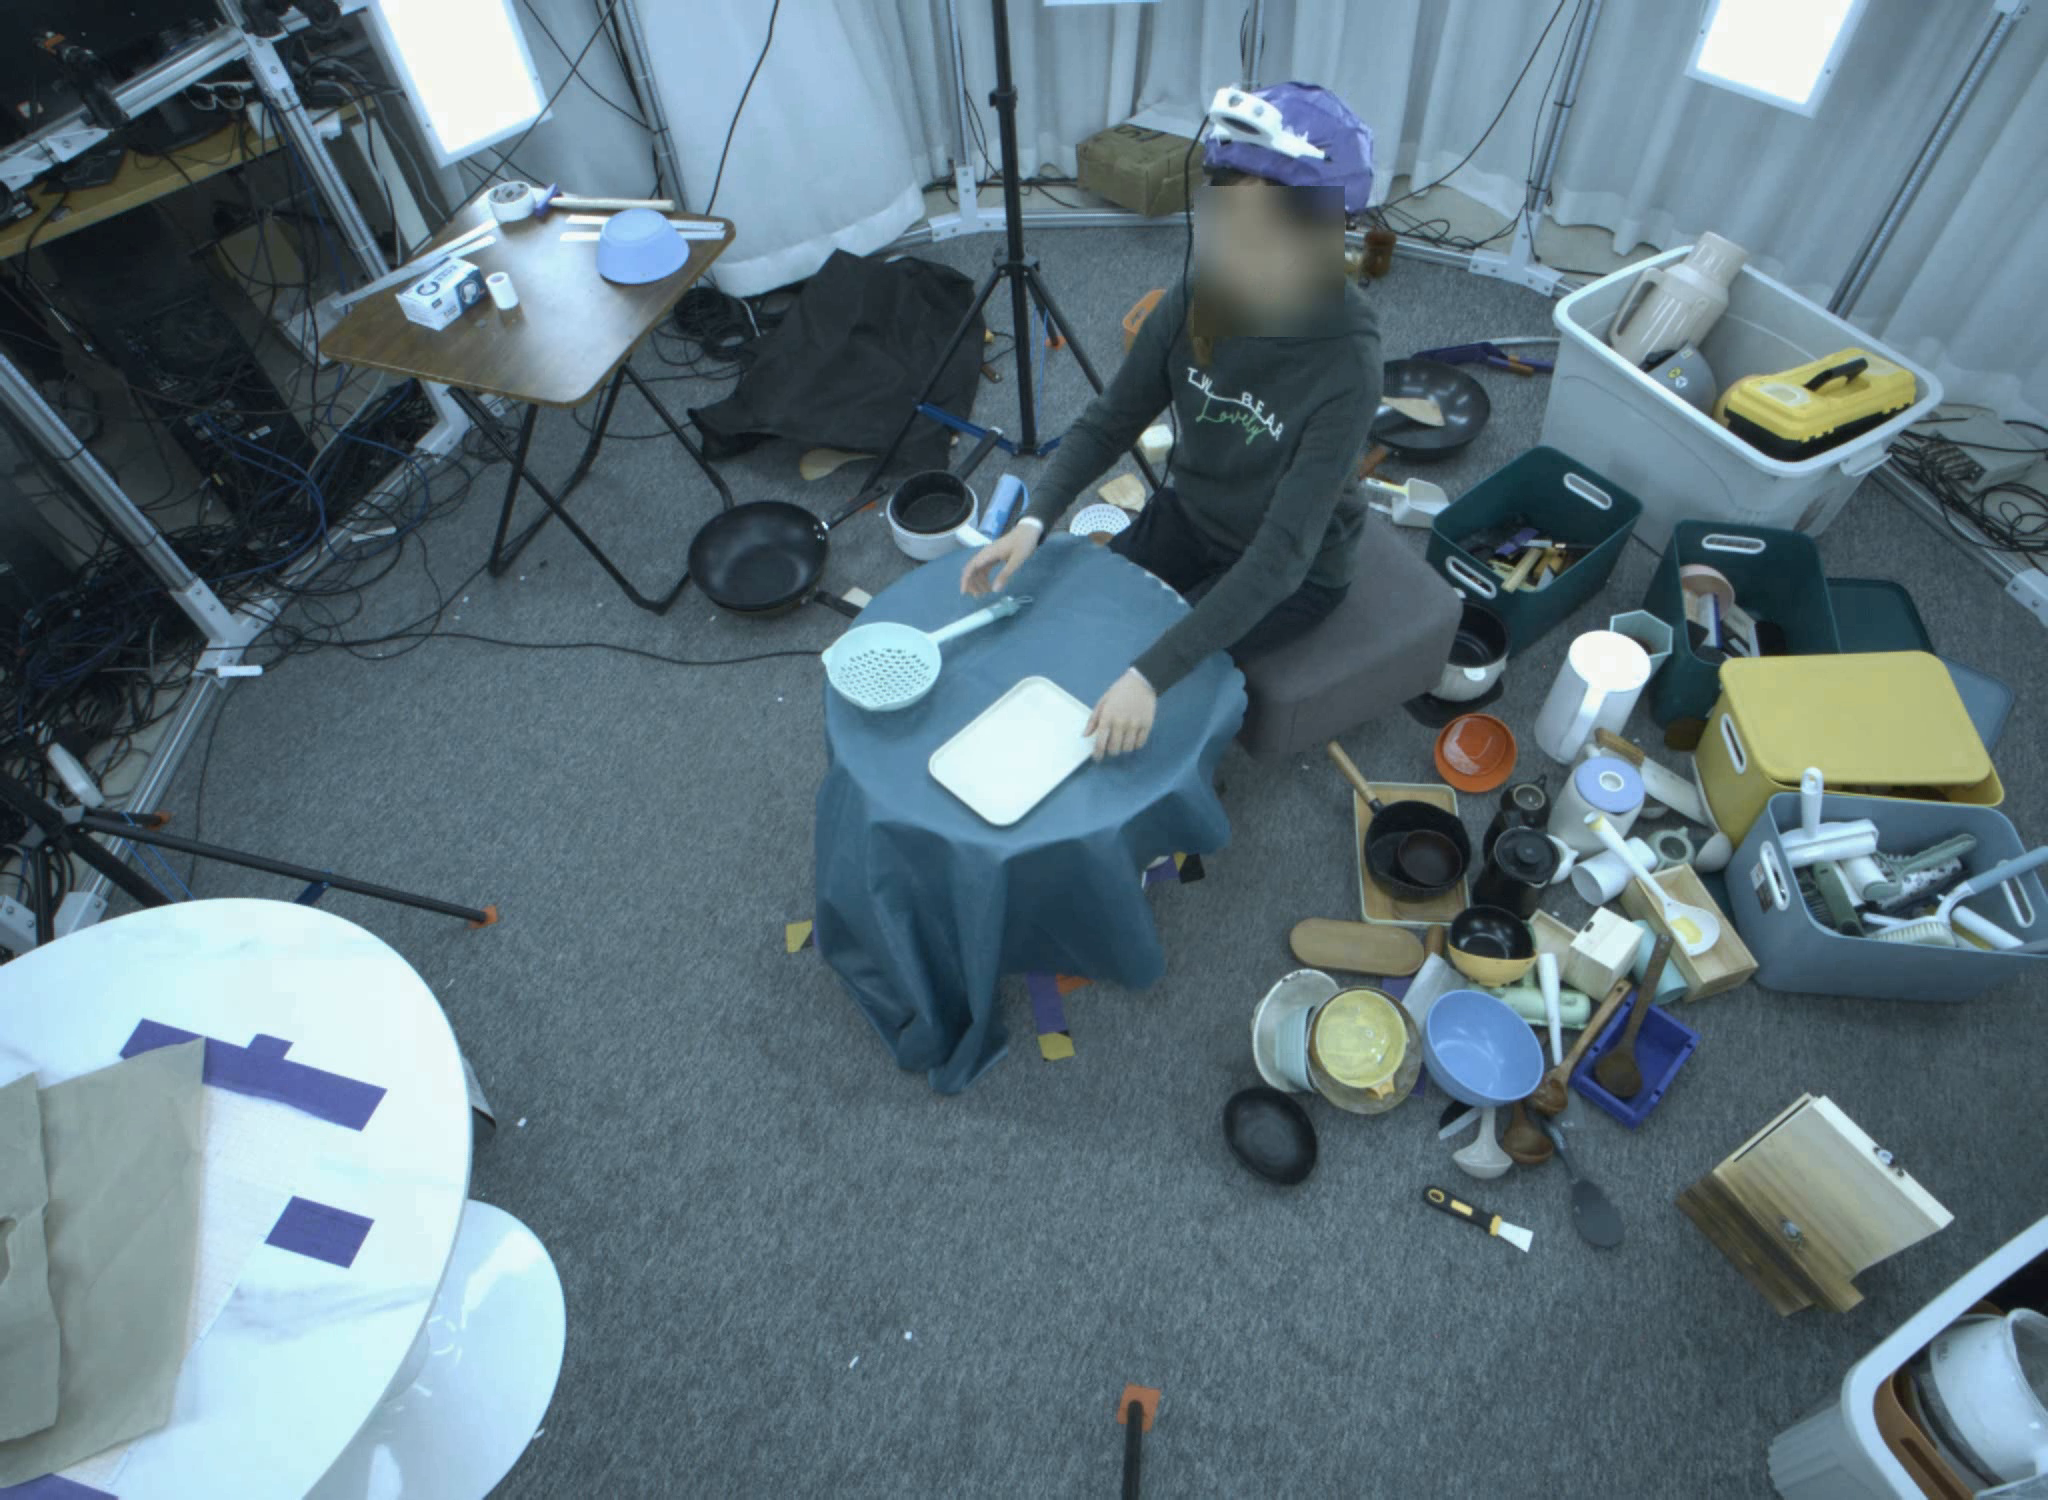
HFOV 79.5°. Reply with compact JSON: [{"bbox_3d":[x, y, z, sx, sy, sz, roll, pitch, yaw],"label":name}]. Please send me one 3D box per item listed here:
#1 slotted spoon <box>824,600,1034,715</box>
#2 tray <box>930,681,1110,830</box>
[{"bbox_3d":[-0.131,-0.161,1.876,0.362,0.076,0.166,-34,61,-21],"label":"slotted spoon"},{"bbox_3d":[-0.004,0.006,1.784,0.168,0.017,0.241,37,63,24],"label":"tray"}]
